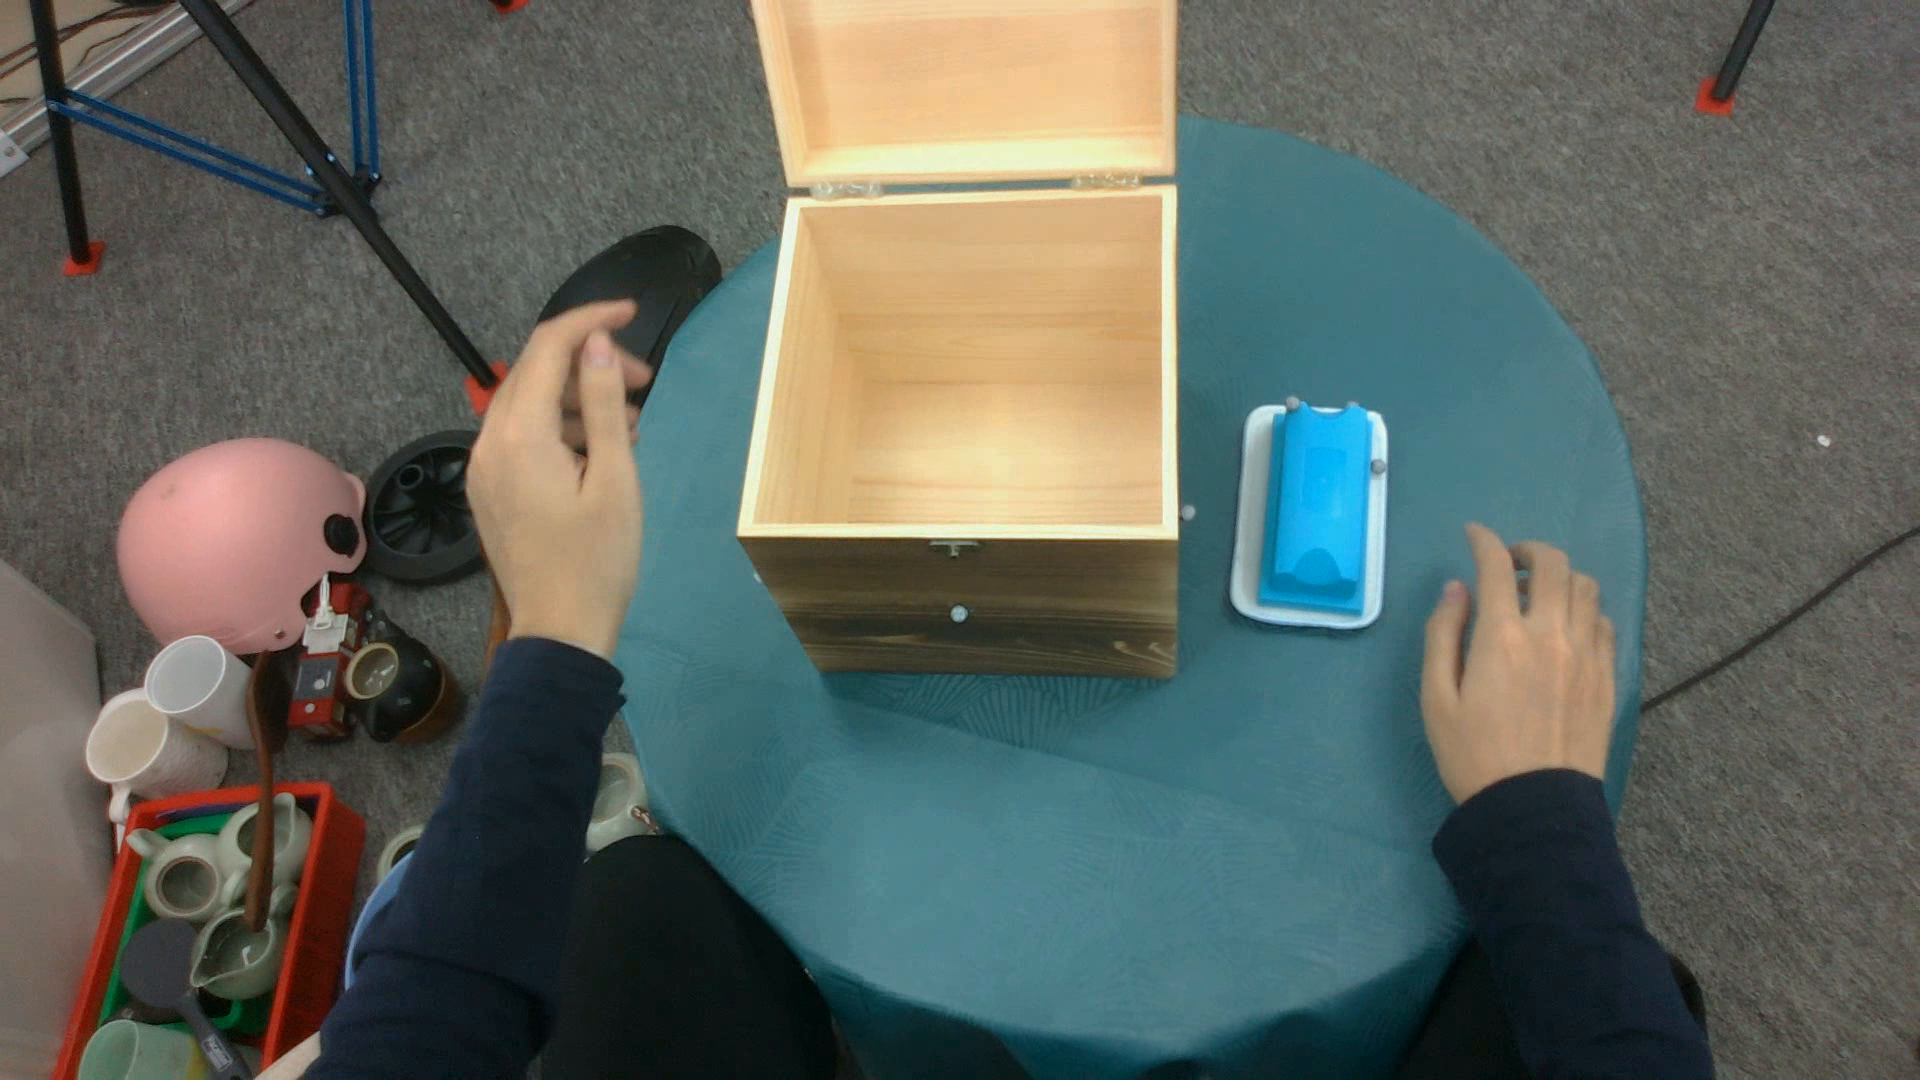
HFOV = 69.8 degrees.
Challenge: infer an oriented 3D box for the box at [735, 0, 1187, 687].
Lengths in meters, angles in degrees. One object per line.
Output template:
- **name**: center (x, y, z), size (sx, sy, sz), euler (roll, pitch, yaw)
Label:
- **box**: center (0.002, -0.134, 0.689), size (0.208, 0.374, 0.323), euler (-2, 62, 9)

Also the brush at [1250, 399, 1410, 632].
- **brush**: center (0.204, -0.021, 0.756), size (0.084, 0.056, 0.144), euler (2, 58, 14)
